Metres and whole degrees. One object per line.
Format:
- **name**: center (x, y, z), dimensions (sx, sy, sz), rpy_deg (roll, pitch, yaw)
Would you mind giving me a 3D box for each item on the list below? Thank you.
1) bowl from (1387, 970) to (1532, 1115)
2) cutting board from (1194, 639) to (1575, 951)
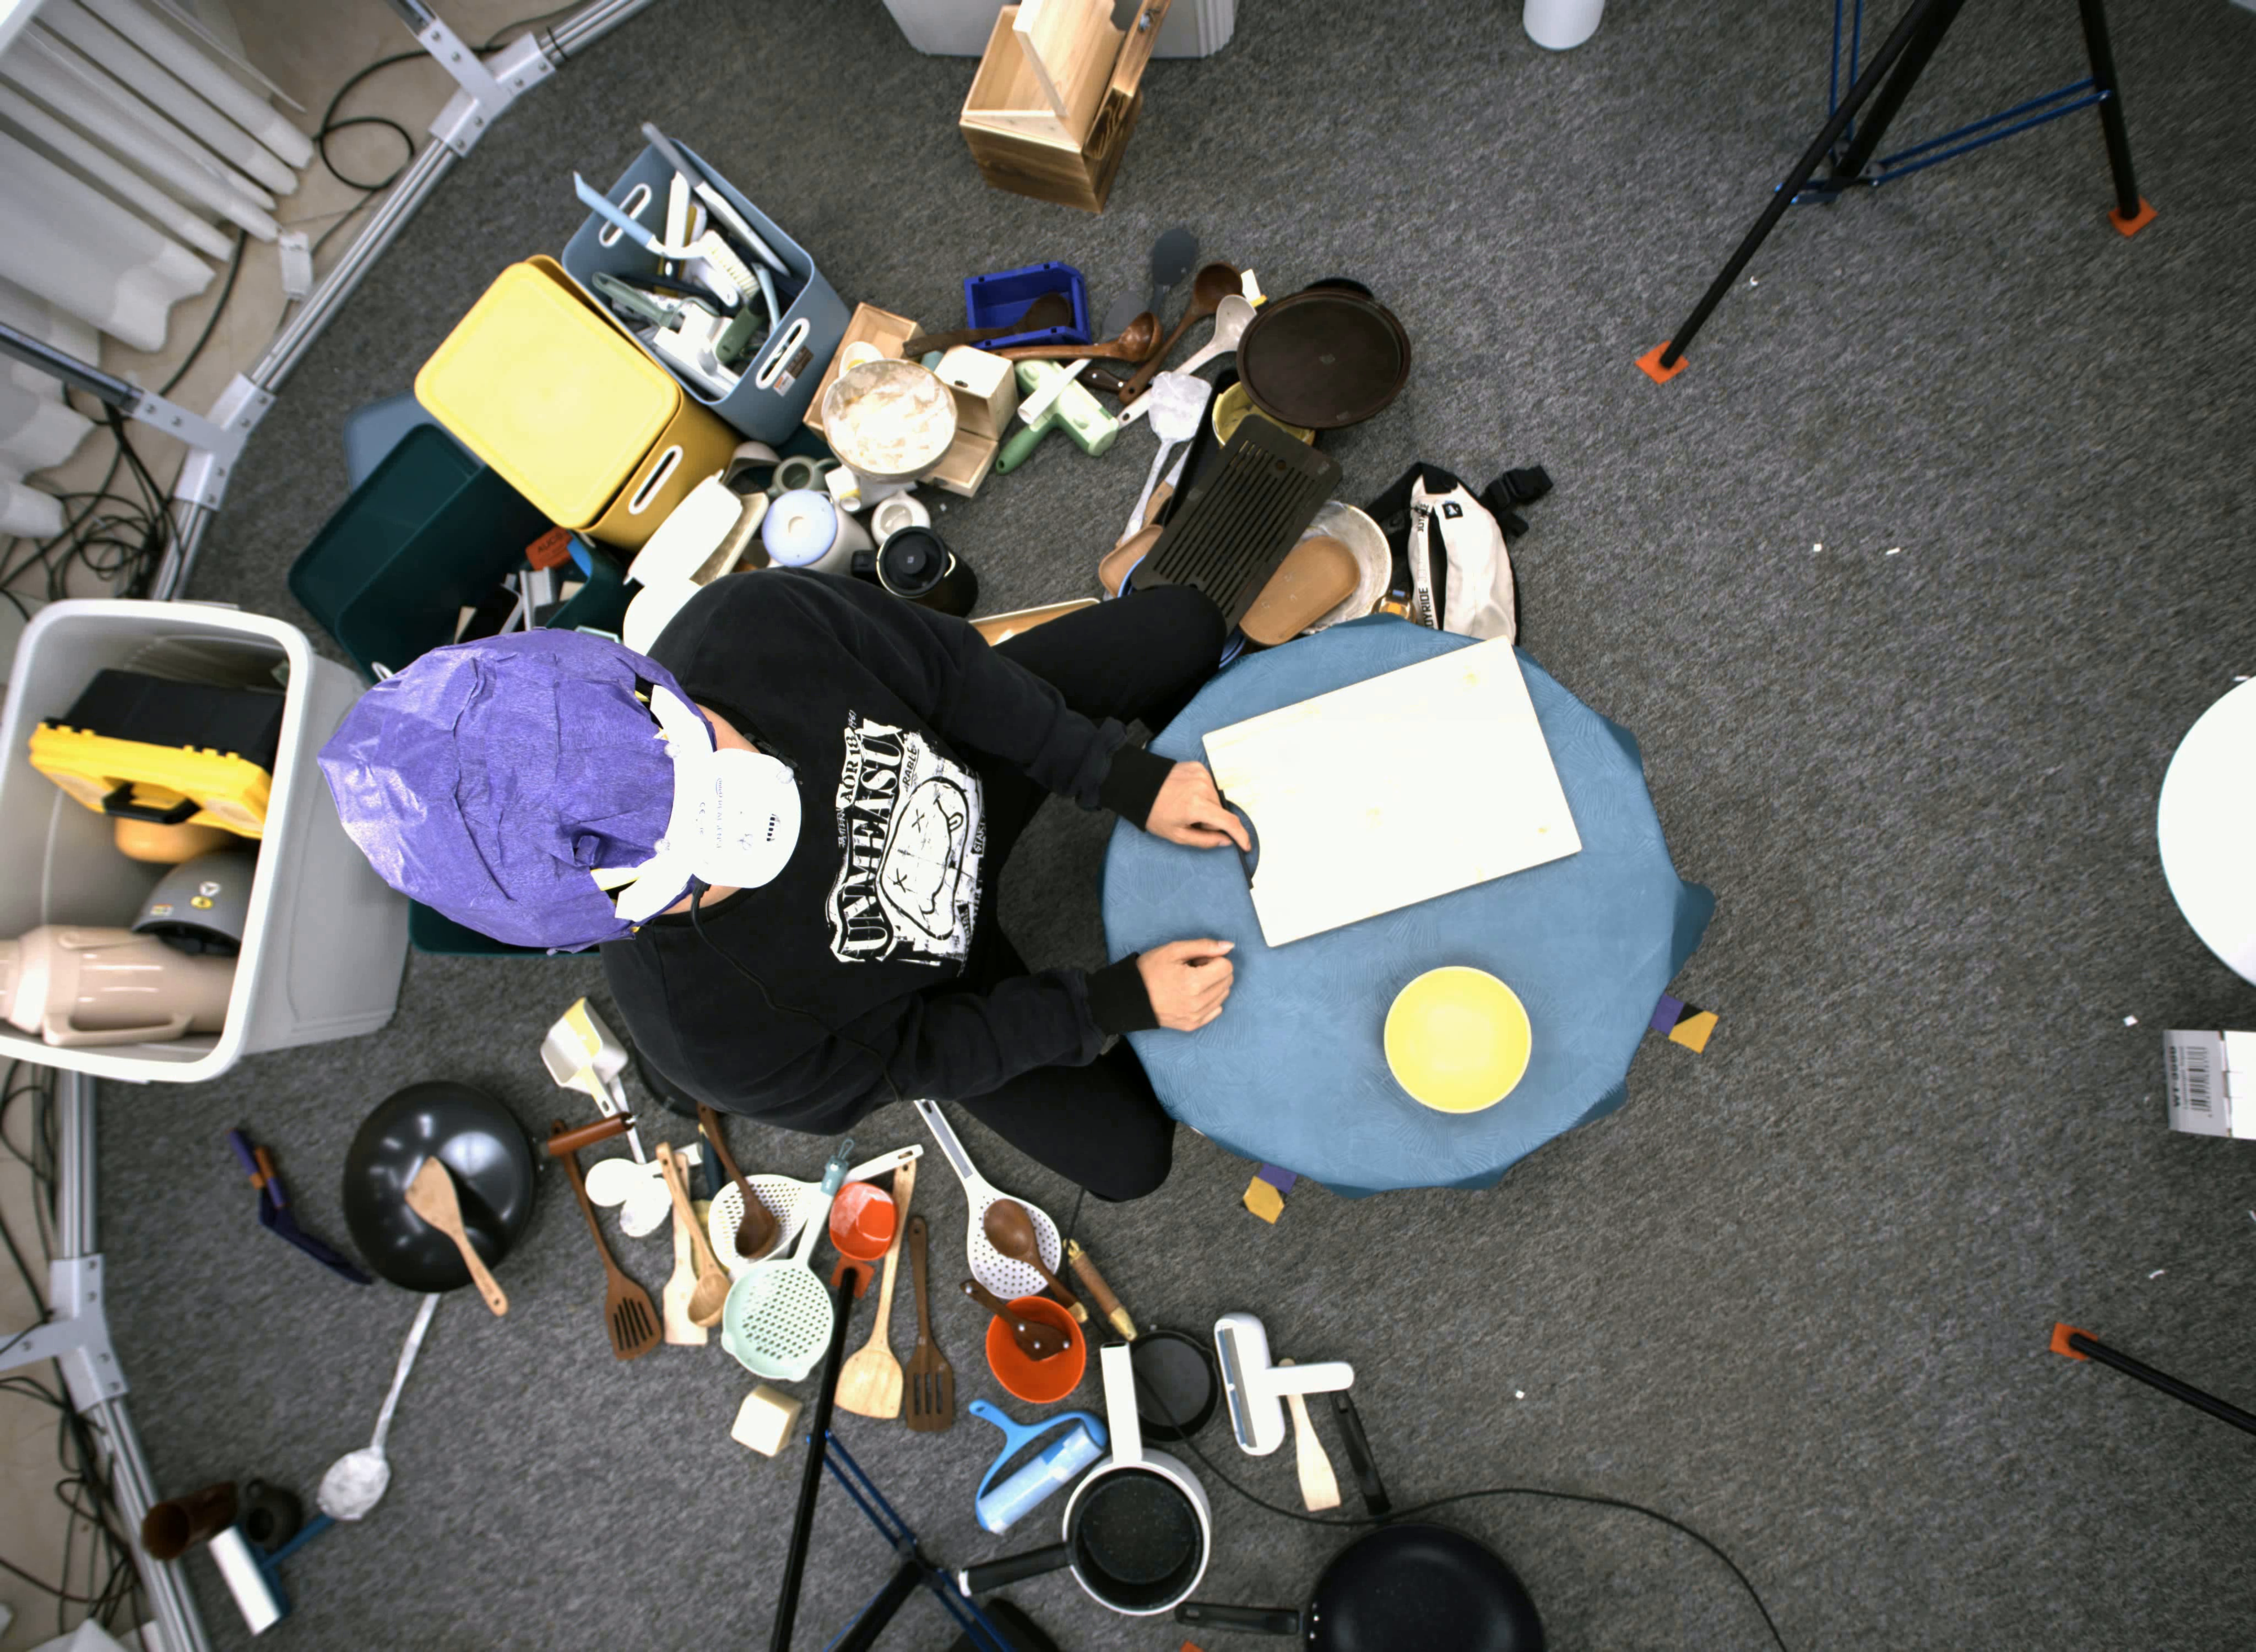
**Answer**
- **bowl**: center (0.338, 0.219, 1.414), dimensions (0.146, 0.060, 0.144), rpy_deg (-2, 83, 11)
- **cutting board**: center (0.271, -0.033, 1.464), dimensions (0.350, 0.023, 0.249), rpy_deg (-19, 83, 9)
